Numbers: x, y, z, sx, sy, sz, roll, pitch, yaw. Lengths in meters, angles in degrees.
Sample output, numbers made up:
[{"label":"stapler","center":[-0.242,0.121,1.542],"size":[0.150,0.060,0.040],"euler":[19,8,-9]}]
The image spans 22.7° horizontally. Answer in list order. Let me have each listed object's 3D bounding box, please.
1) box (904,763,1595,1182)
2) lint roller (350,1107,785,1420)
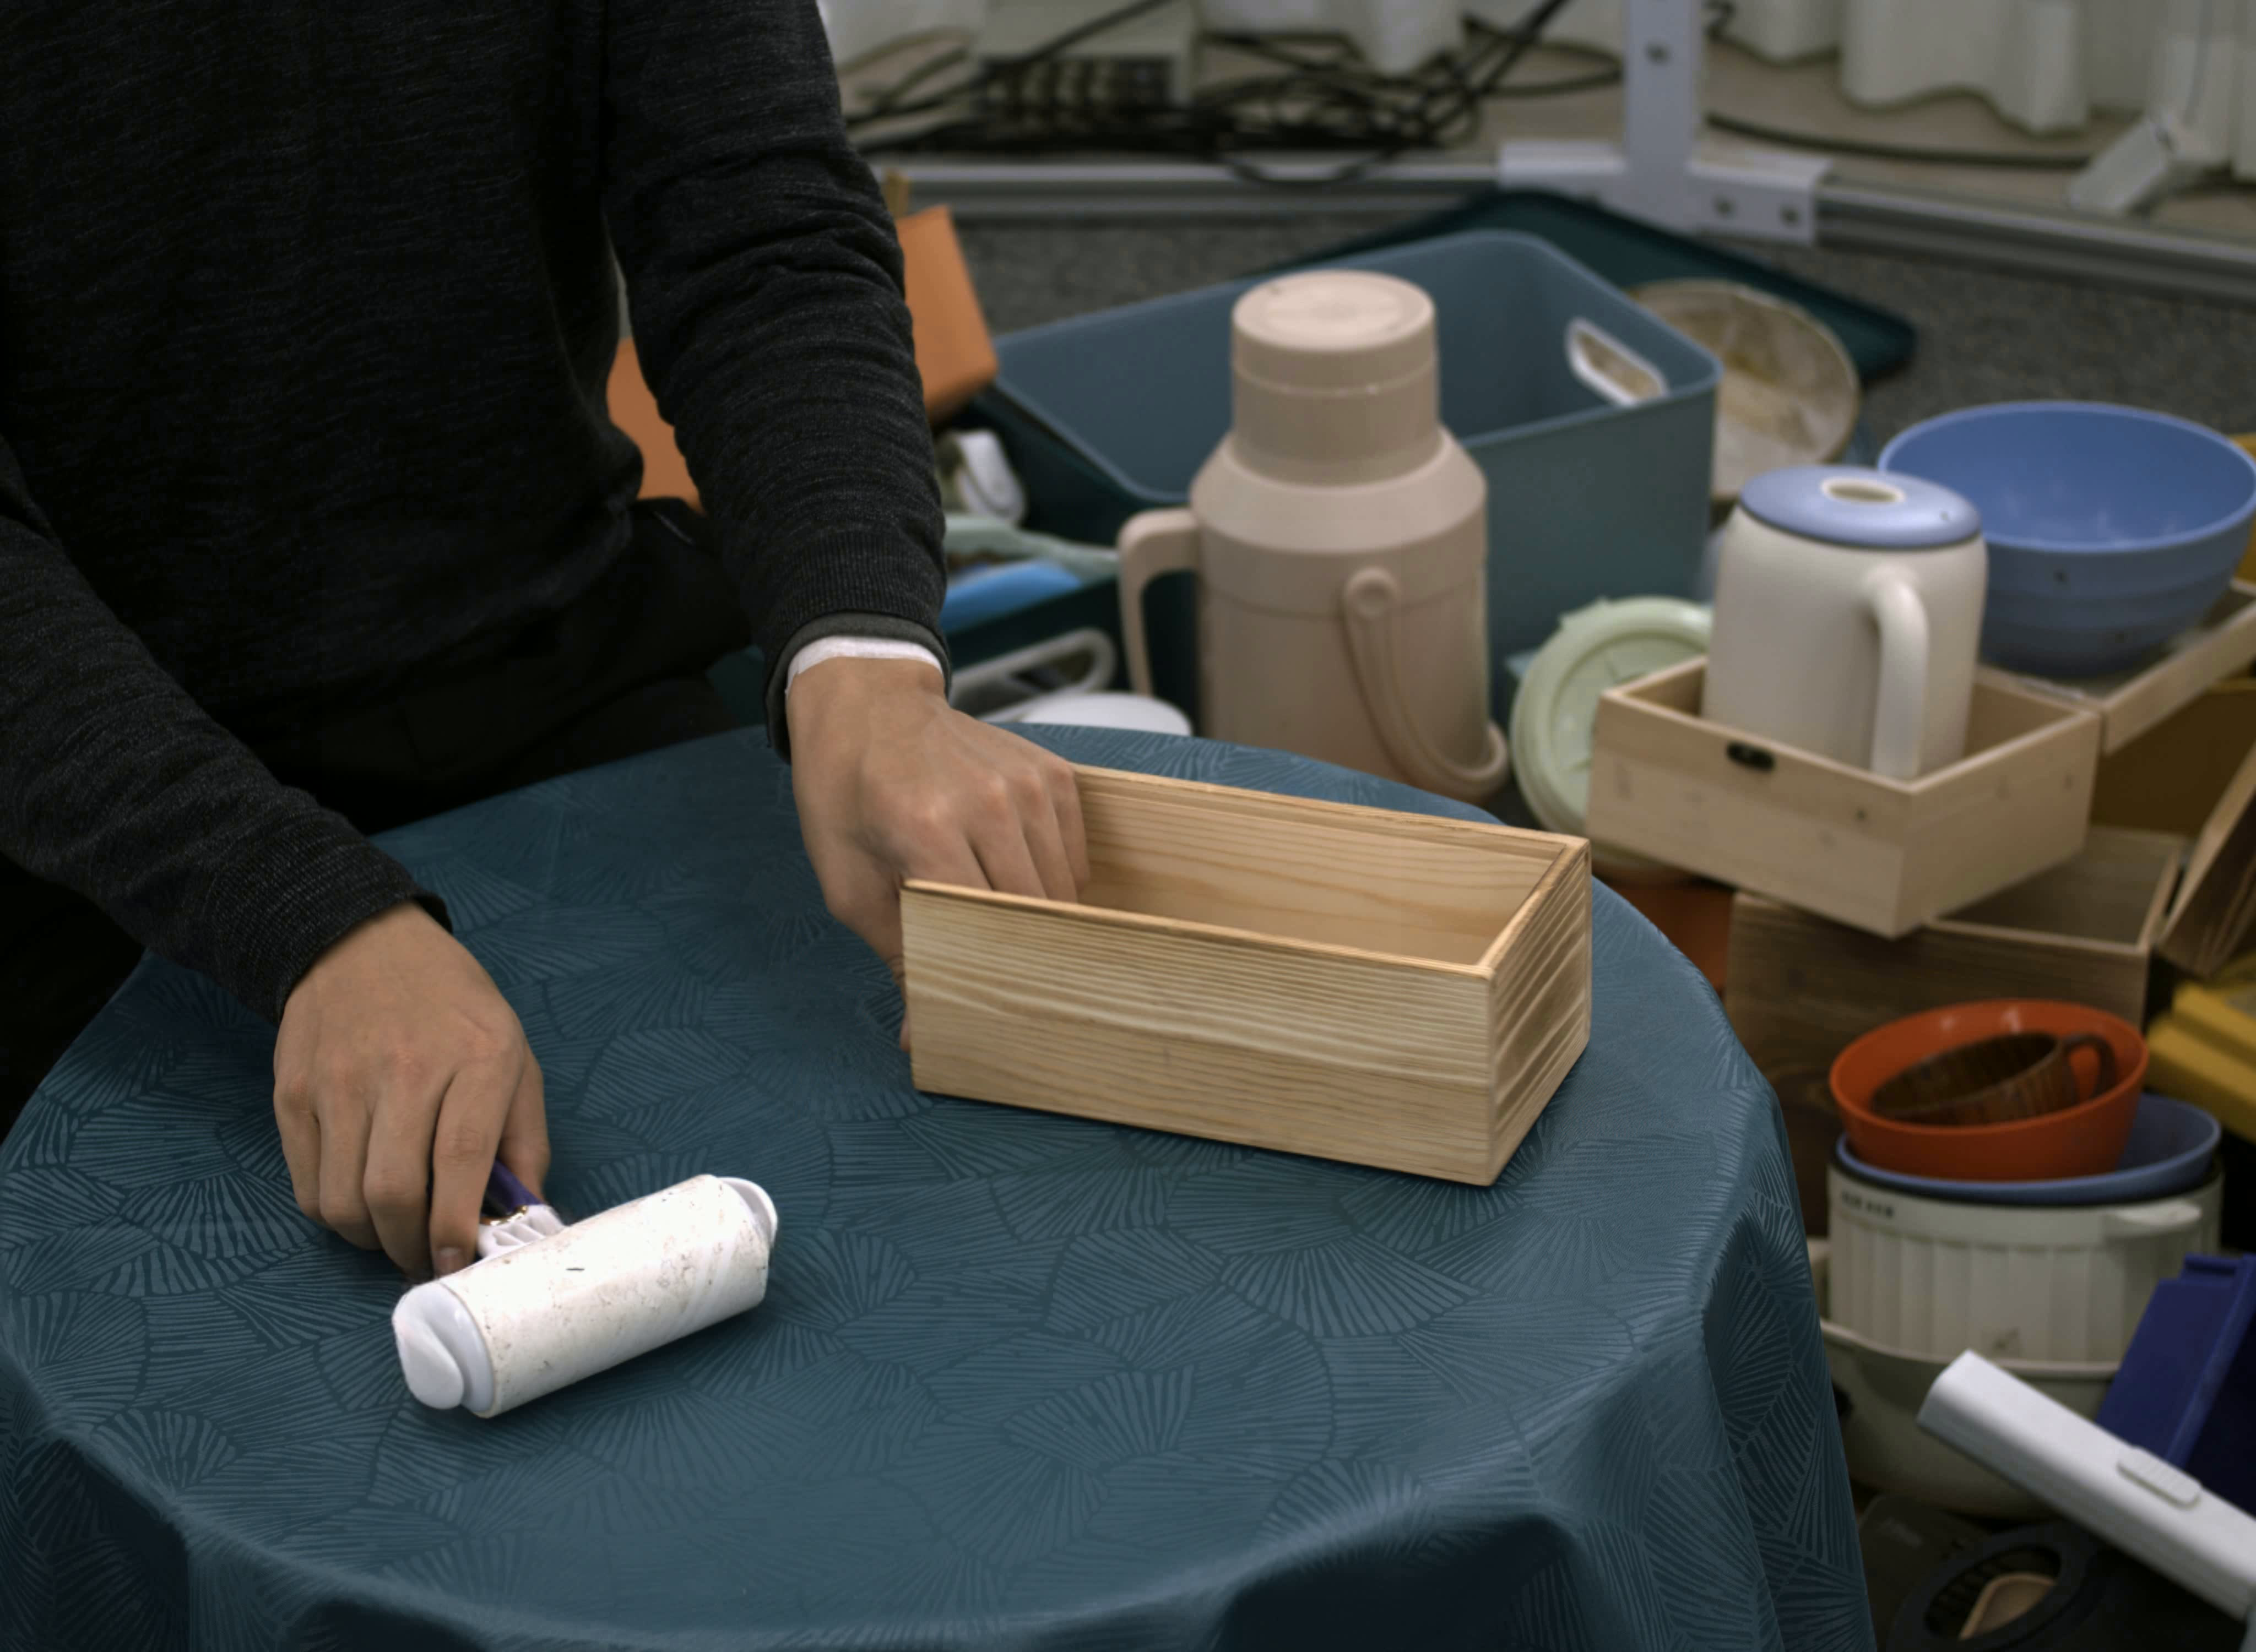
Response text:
[{"label":"box","center":[0.043,0.048,1.913],"size":[0.210,0.079,0.109],"euler":[7,28,20]},{"label":"lint roller","center":[-0.204,0.121,1.824],"size":[0.134,0.049,0.182],"euler":[-20,36,-27]}]
